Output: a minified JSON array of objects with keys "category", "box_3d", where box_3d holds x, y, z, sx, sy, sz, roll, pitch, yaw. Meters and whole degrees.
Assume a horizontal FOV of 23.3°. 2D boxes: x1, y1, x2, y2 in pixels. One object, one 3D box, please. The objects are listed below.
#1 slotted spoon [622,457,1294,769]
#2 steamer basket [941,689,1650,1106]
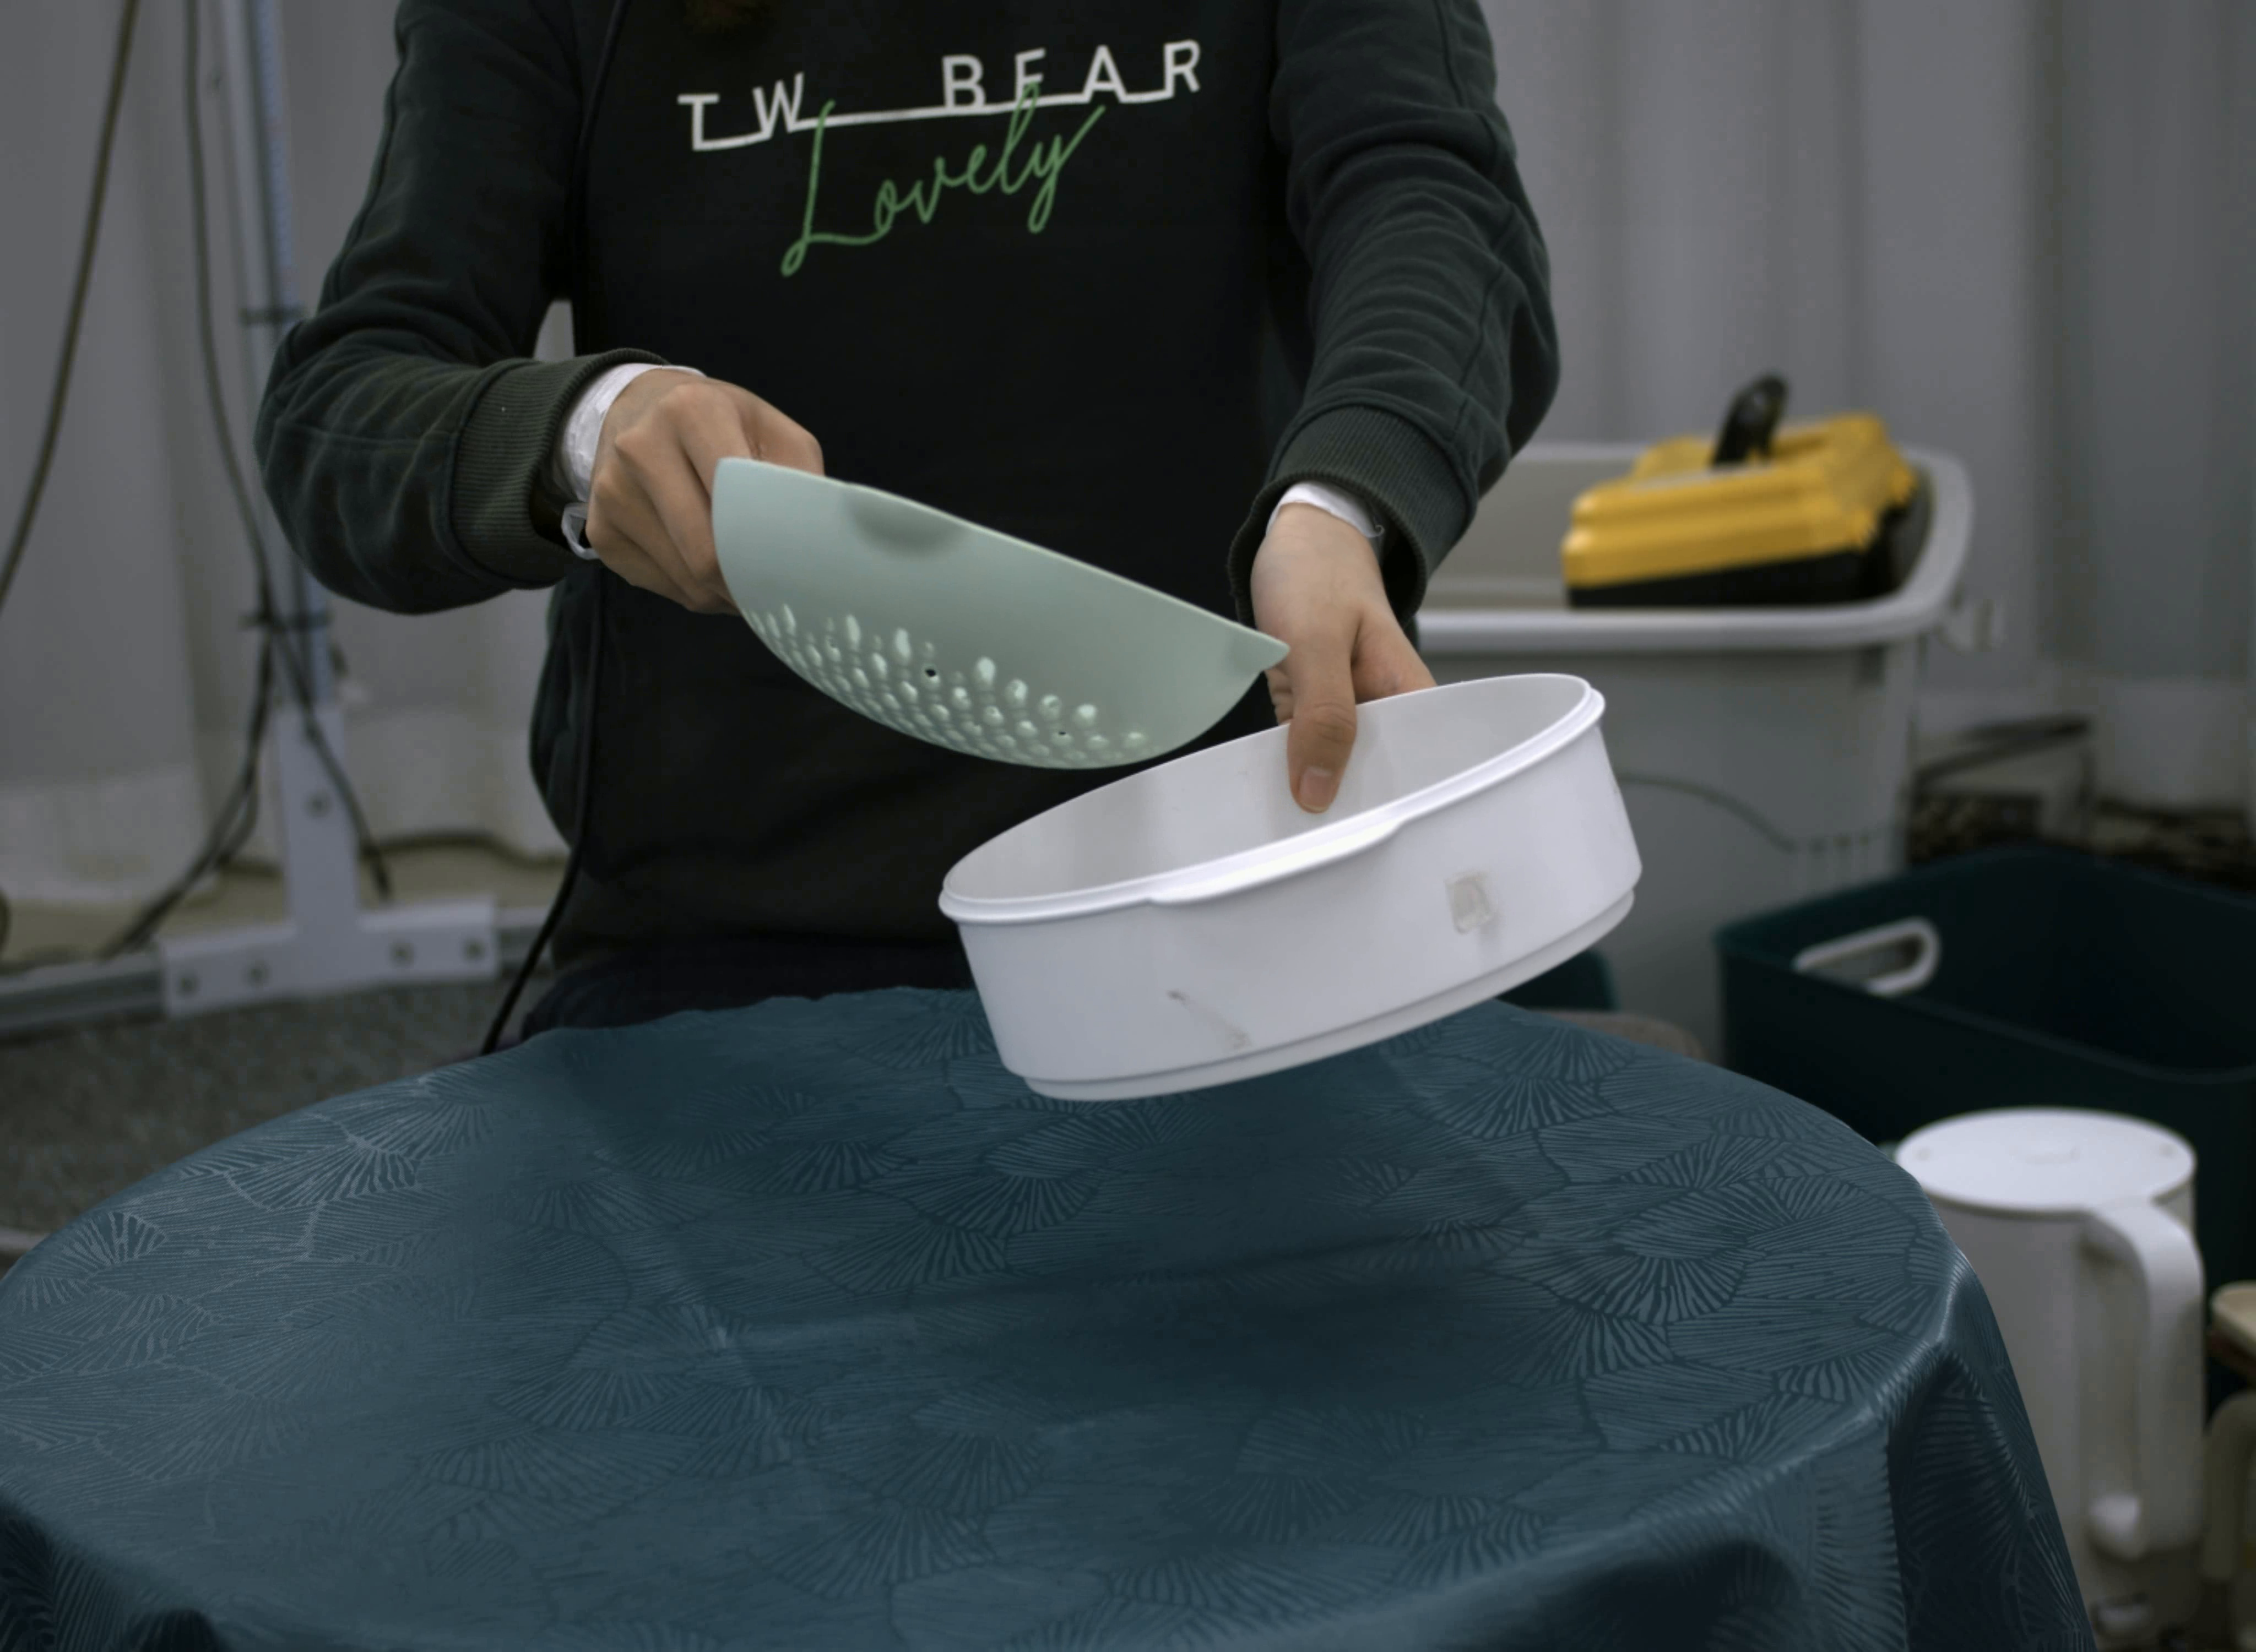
[{"category":"slotted spoon","box_3d":[-0.084,-0.076,1.662,0.168,0.075,0.362,21,4,-26]},{"category":"steamer basket","box_3d":[0.051,0.021,1.571,0.201,0.069,0.231,-16,9,2]}]
